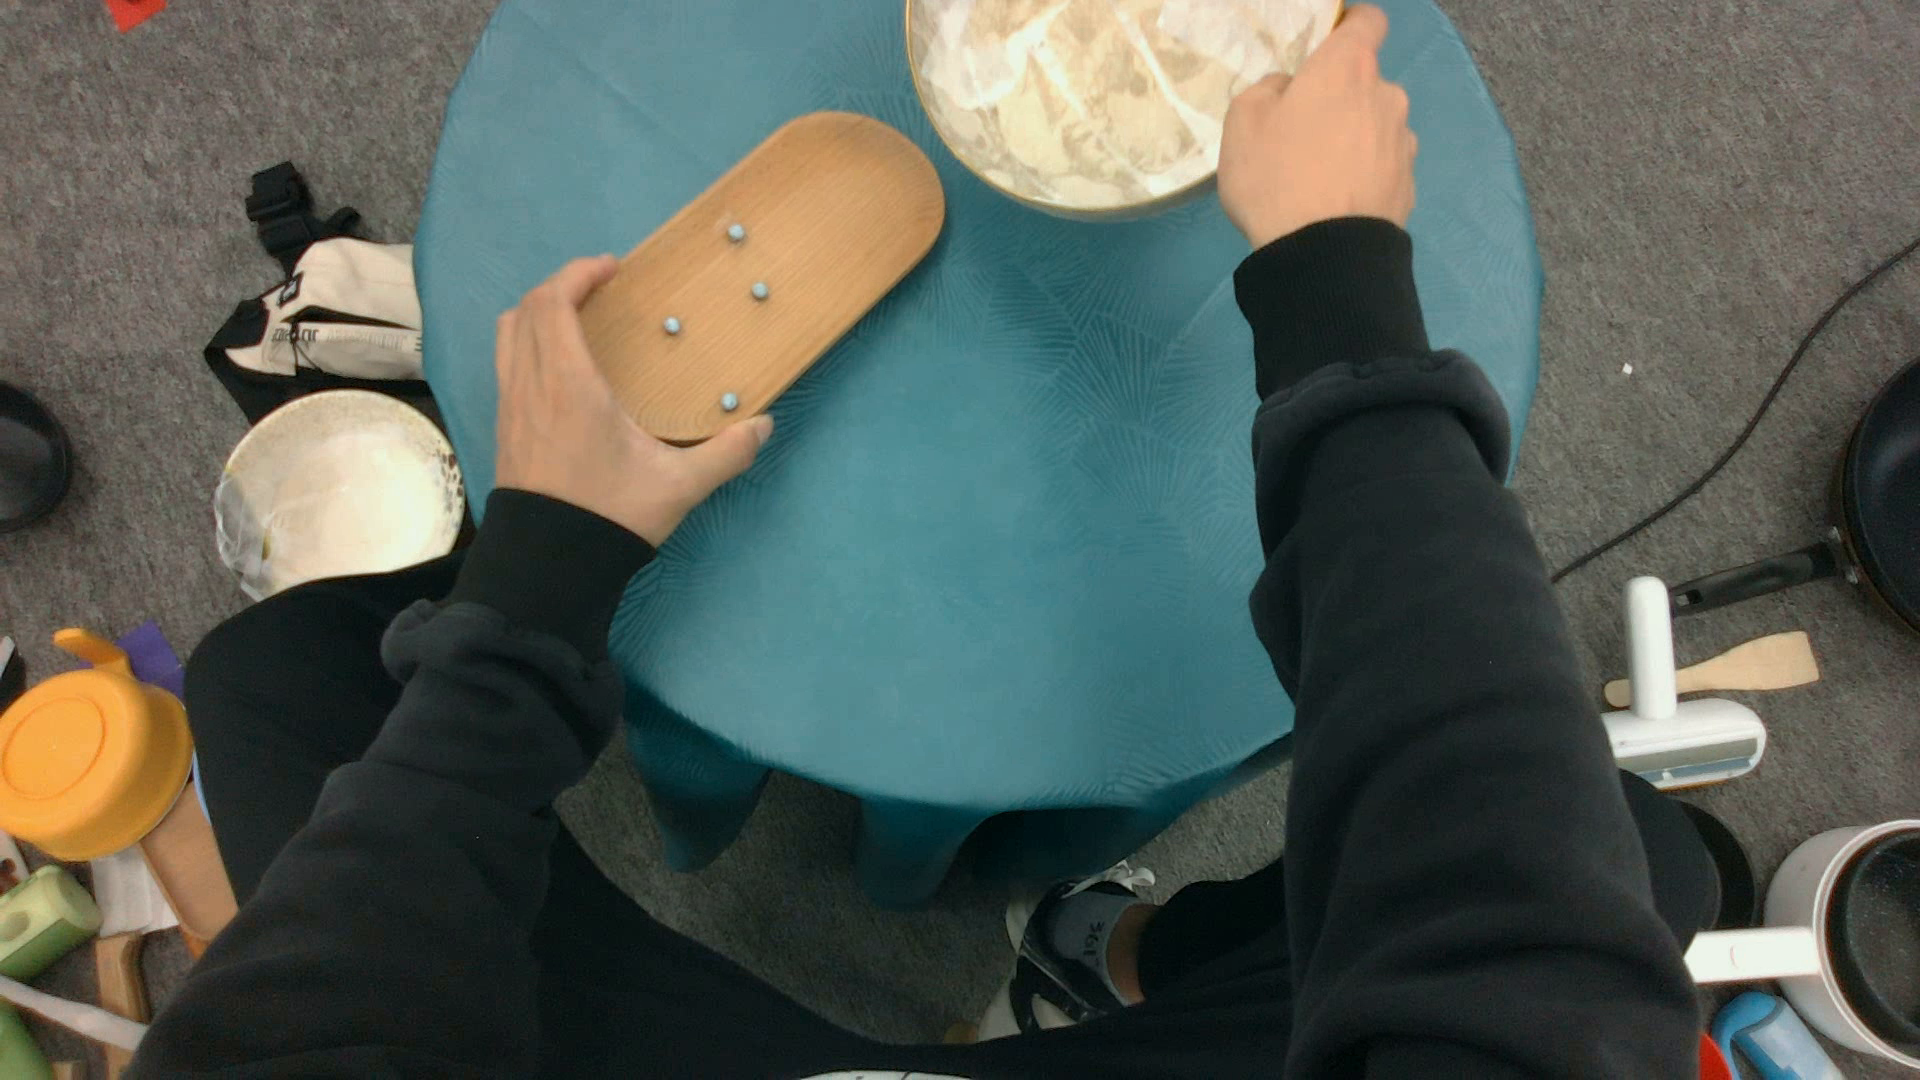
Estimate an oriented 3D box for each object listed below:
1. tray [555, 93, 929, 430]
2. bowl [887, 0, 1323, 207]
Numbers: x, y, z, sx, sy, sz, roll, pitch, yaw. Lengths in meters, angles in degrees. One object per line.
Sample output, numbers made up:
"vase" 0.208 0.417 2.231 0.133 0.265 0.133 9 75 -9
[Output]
"tray" -0.104 -0.143 0.691 0.101 0.020 0.232 39 62 1
"bowl" 0.071 -0.249 0.655 0.214 0.095 0.214 0 89 18
